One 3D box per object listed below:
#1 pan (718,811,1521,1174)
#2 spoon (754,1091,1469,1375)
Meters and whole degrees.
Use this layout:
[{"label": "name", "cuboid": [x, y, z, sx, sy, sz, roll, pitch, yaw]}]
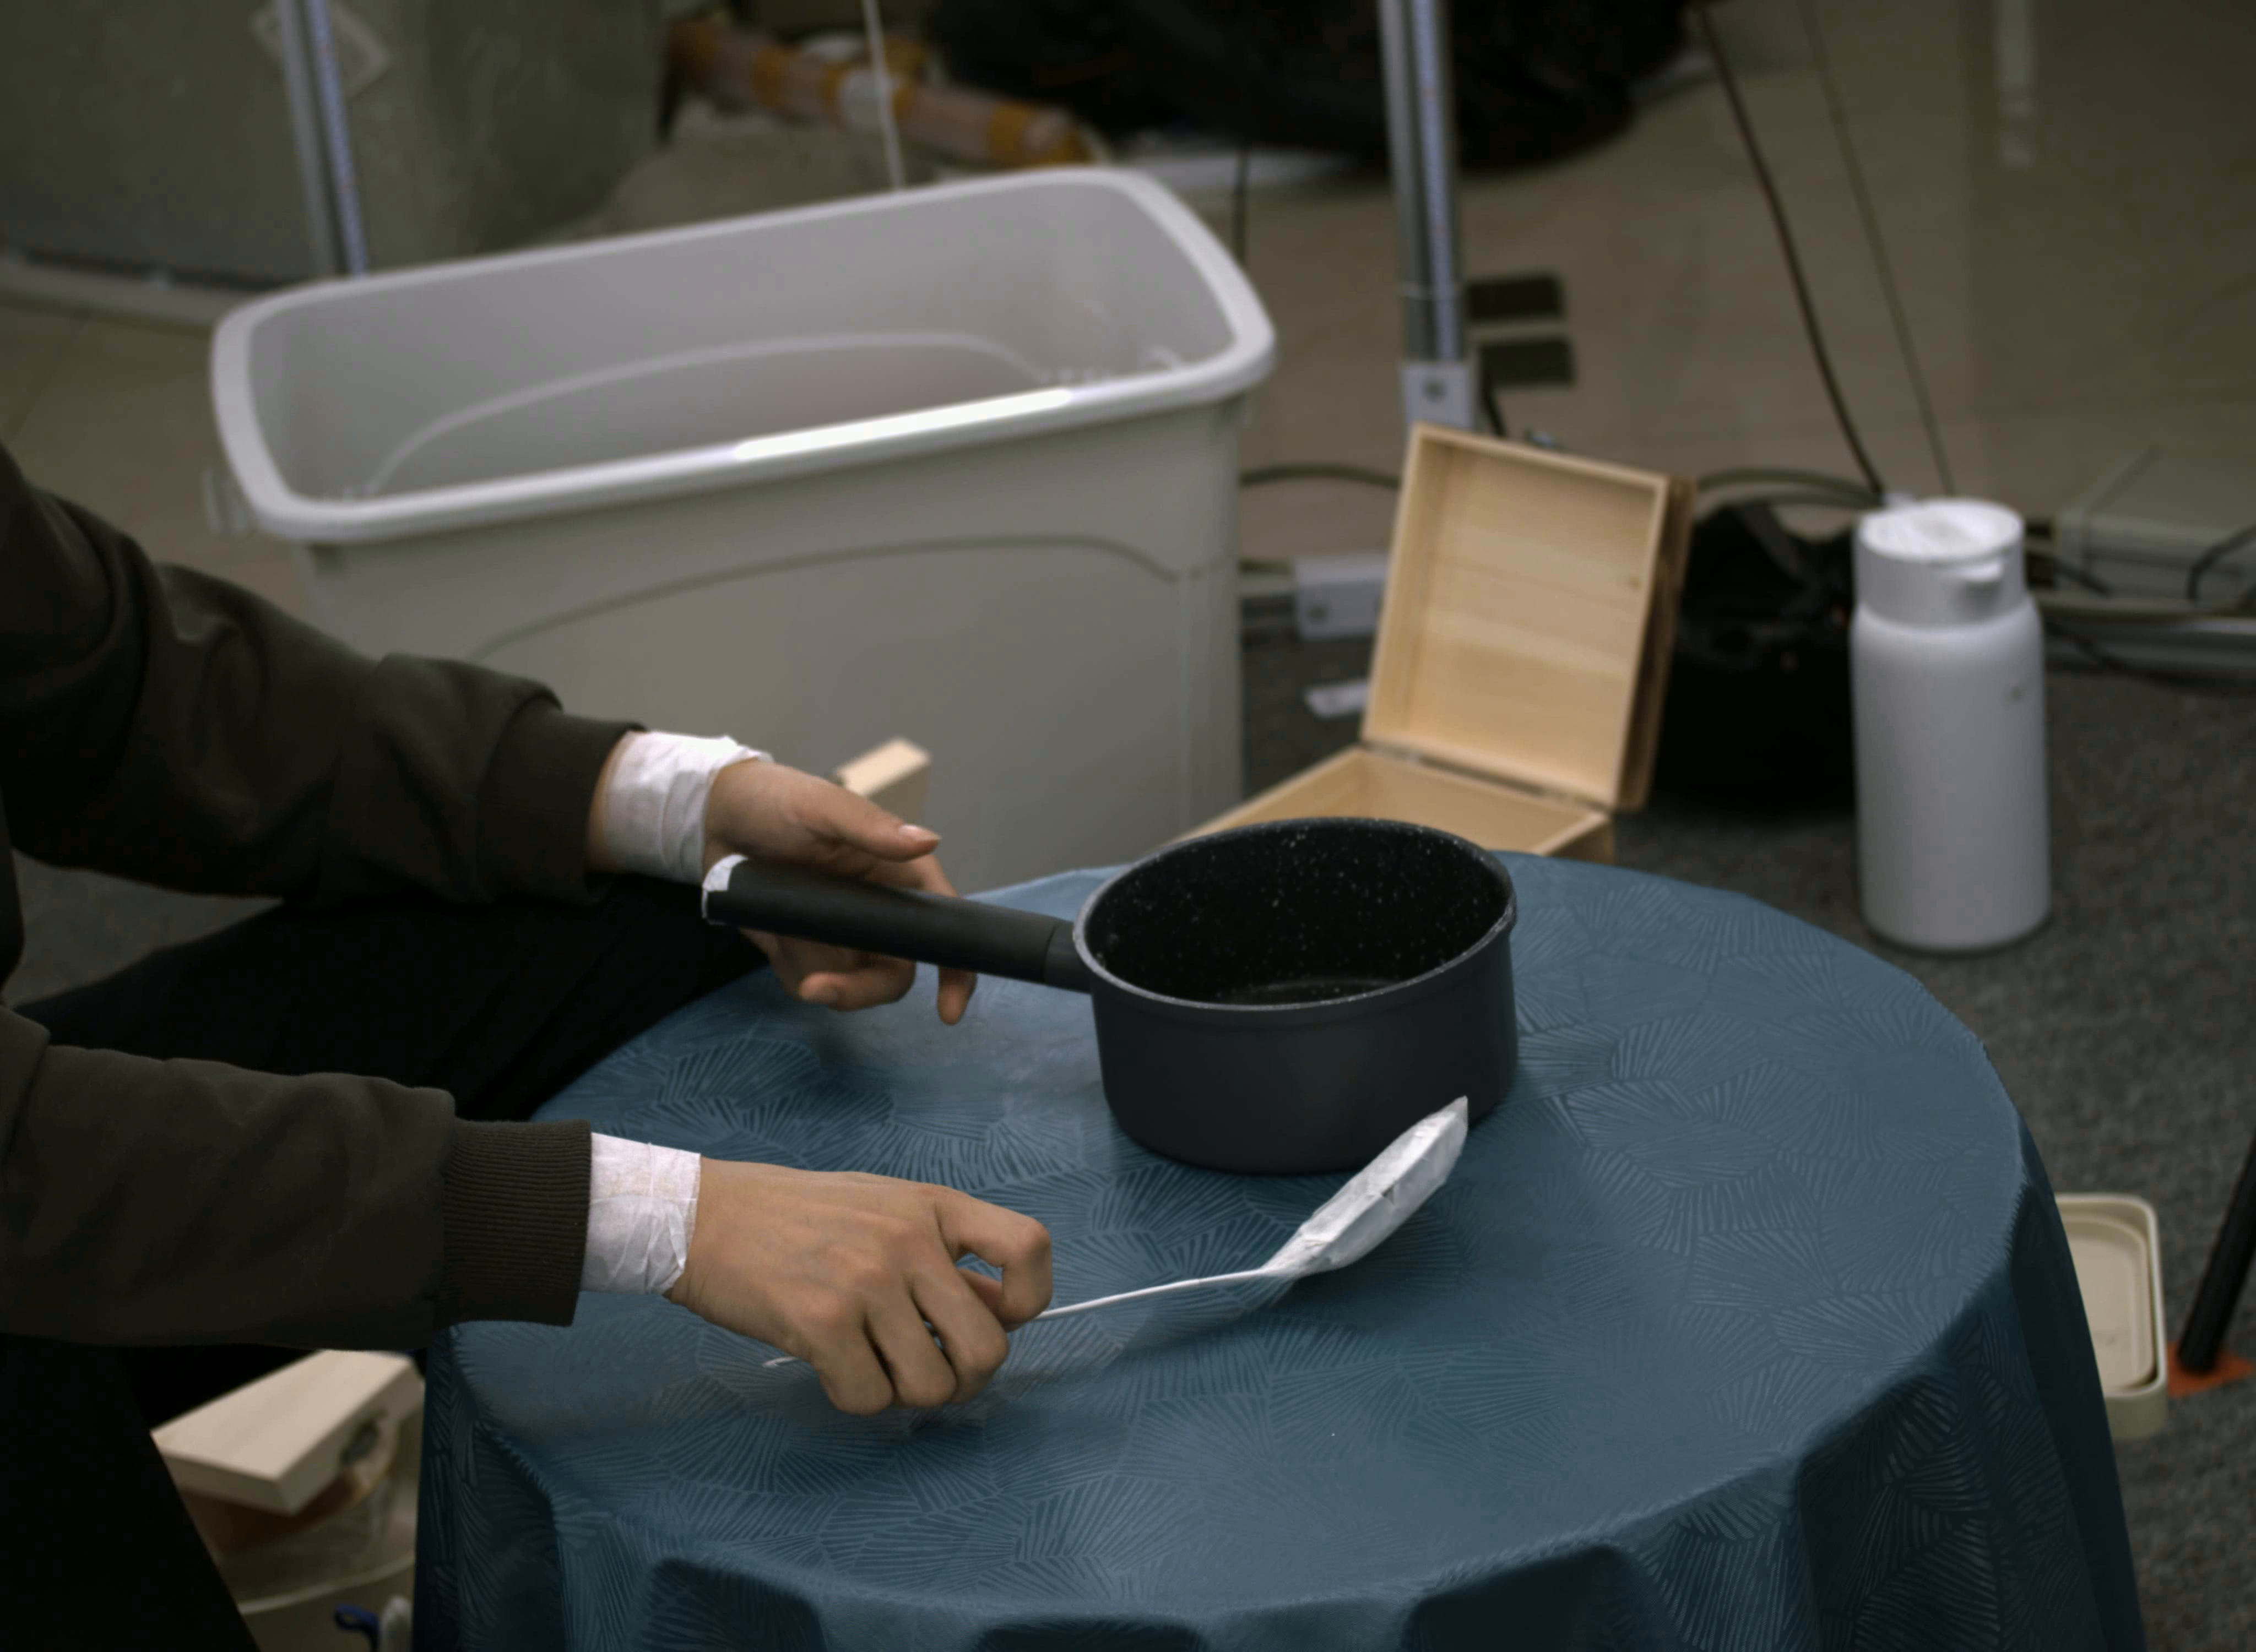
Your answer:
[{"label": "pan", "cuboid": [-0.006, 0.059, 2.226, 0.328, 0.088, 0.170, 4, 26, 20]}, {"label": "spoon", "cuboid": [-0.006, 0.147, 2.049, 0.277, 0.059, 0.101, -9, -9, -14]}]
